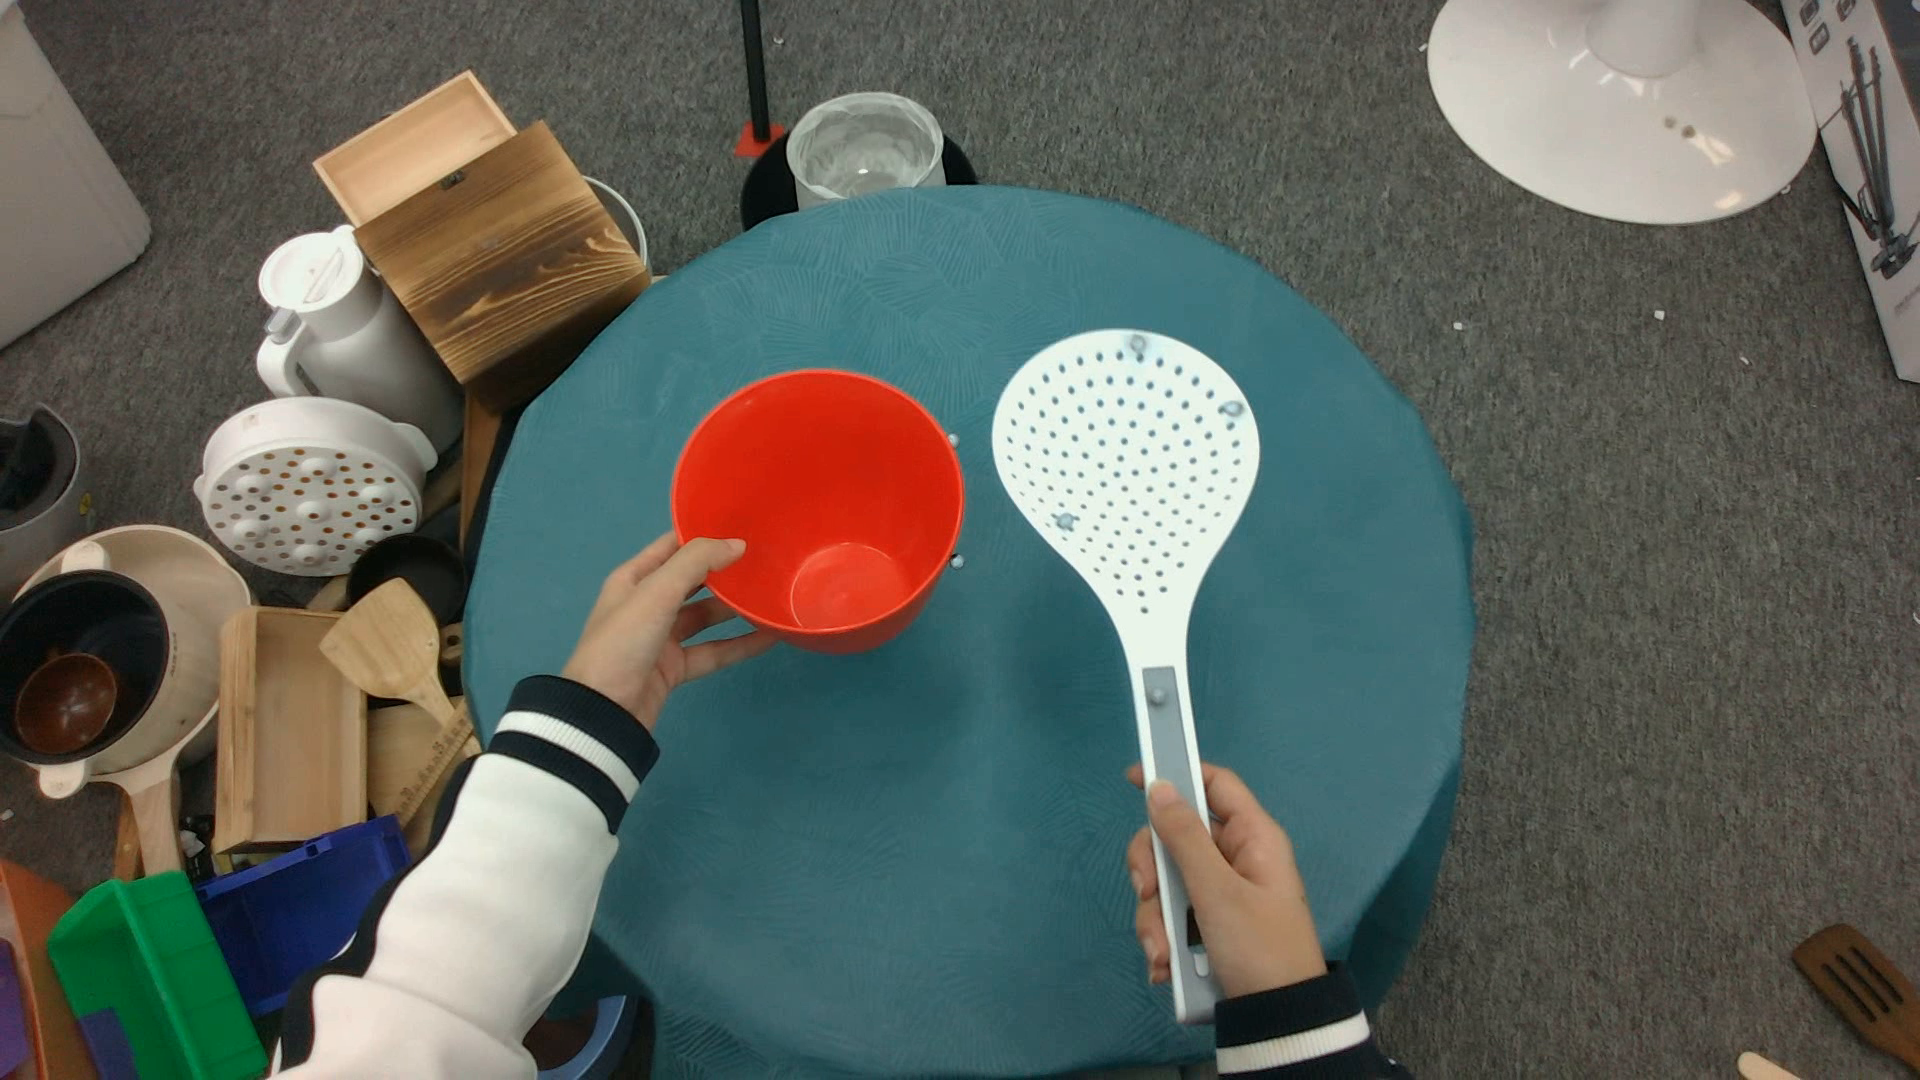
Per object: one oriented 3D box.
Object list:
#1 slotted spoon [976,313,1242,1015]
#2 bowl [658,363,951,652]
[{"bbox_3d":[0.084,0.043,0.657,0.136,0.045,0.351,-4,60,-3],"label":"slotted spoon"},{"bbox_3d":[-0.078,-0.005,0.731,0.148,0.104,0.148,0,57,0],"label":"bowl"}]
